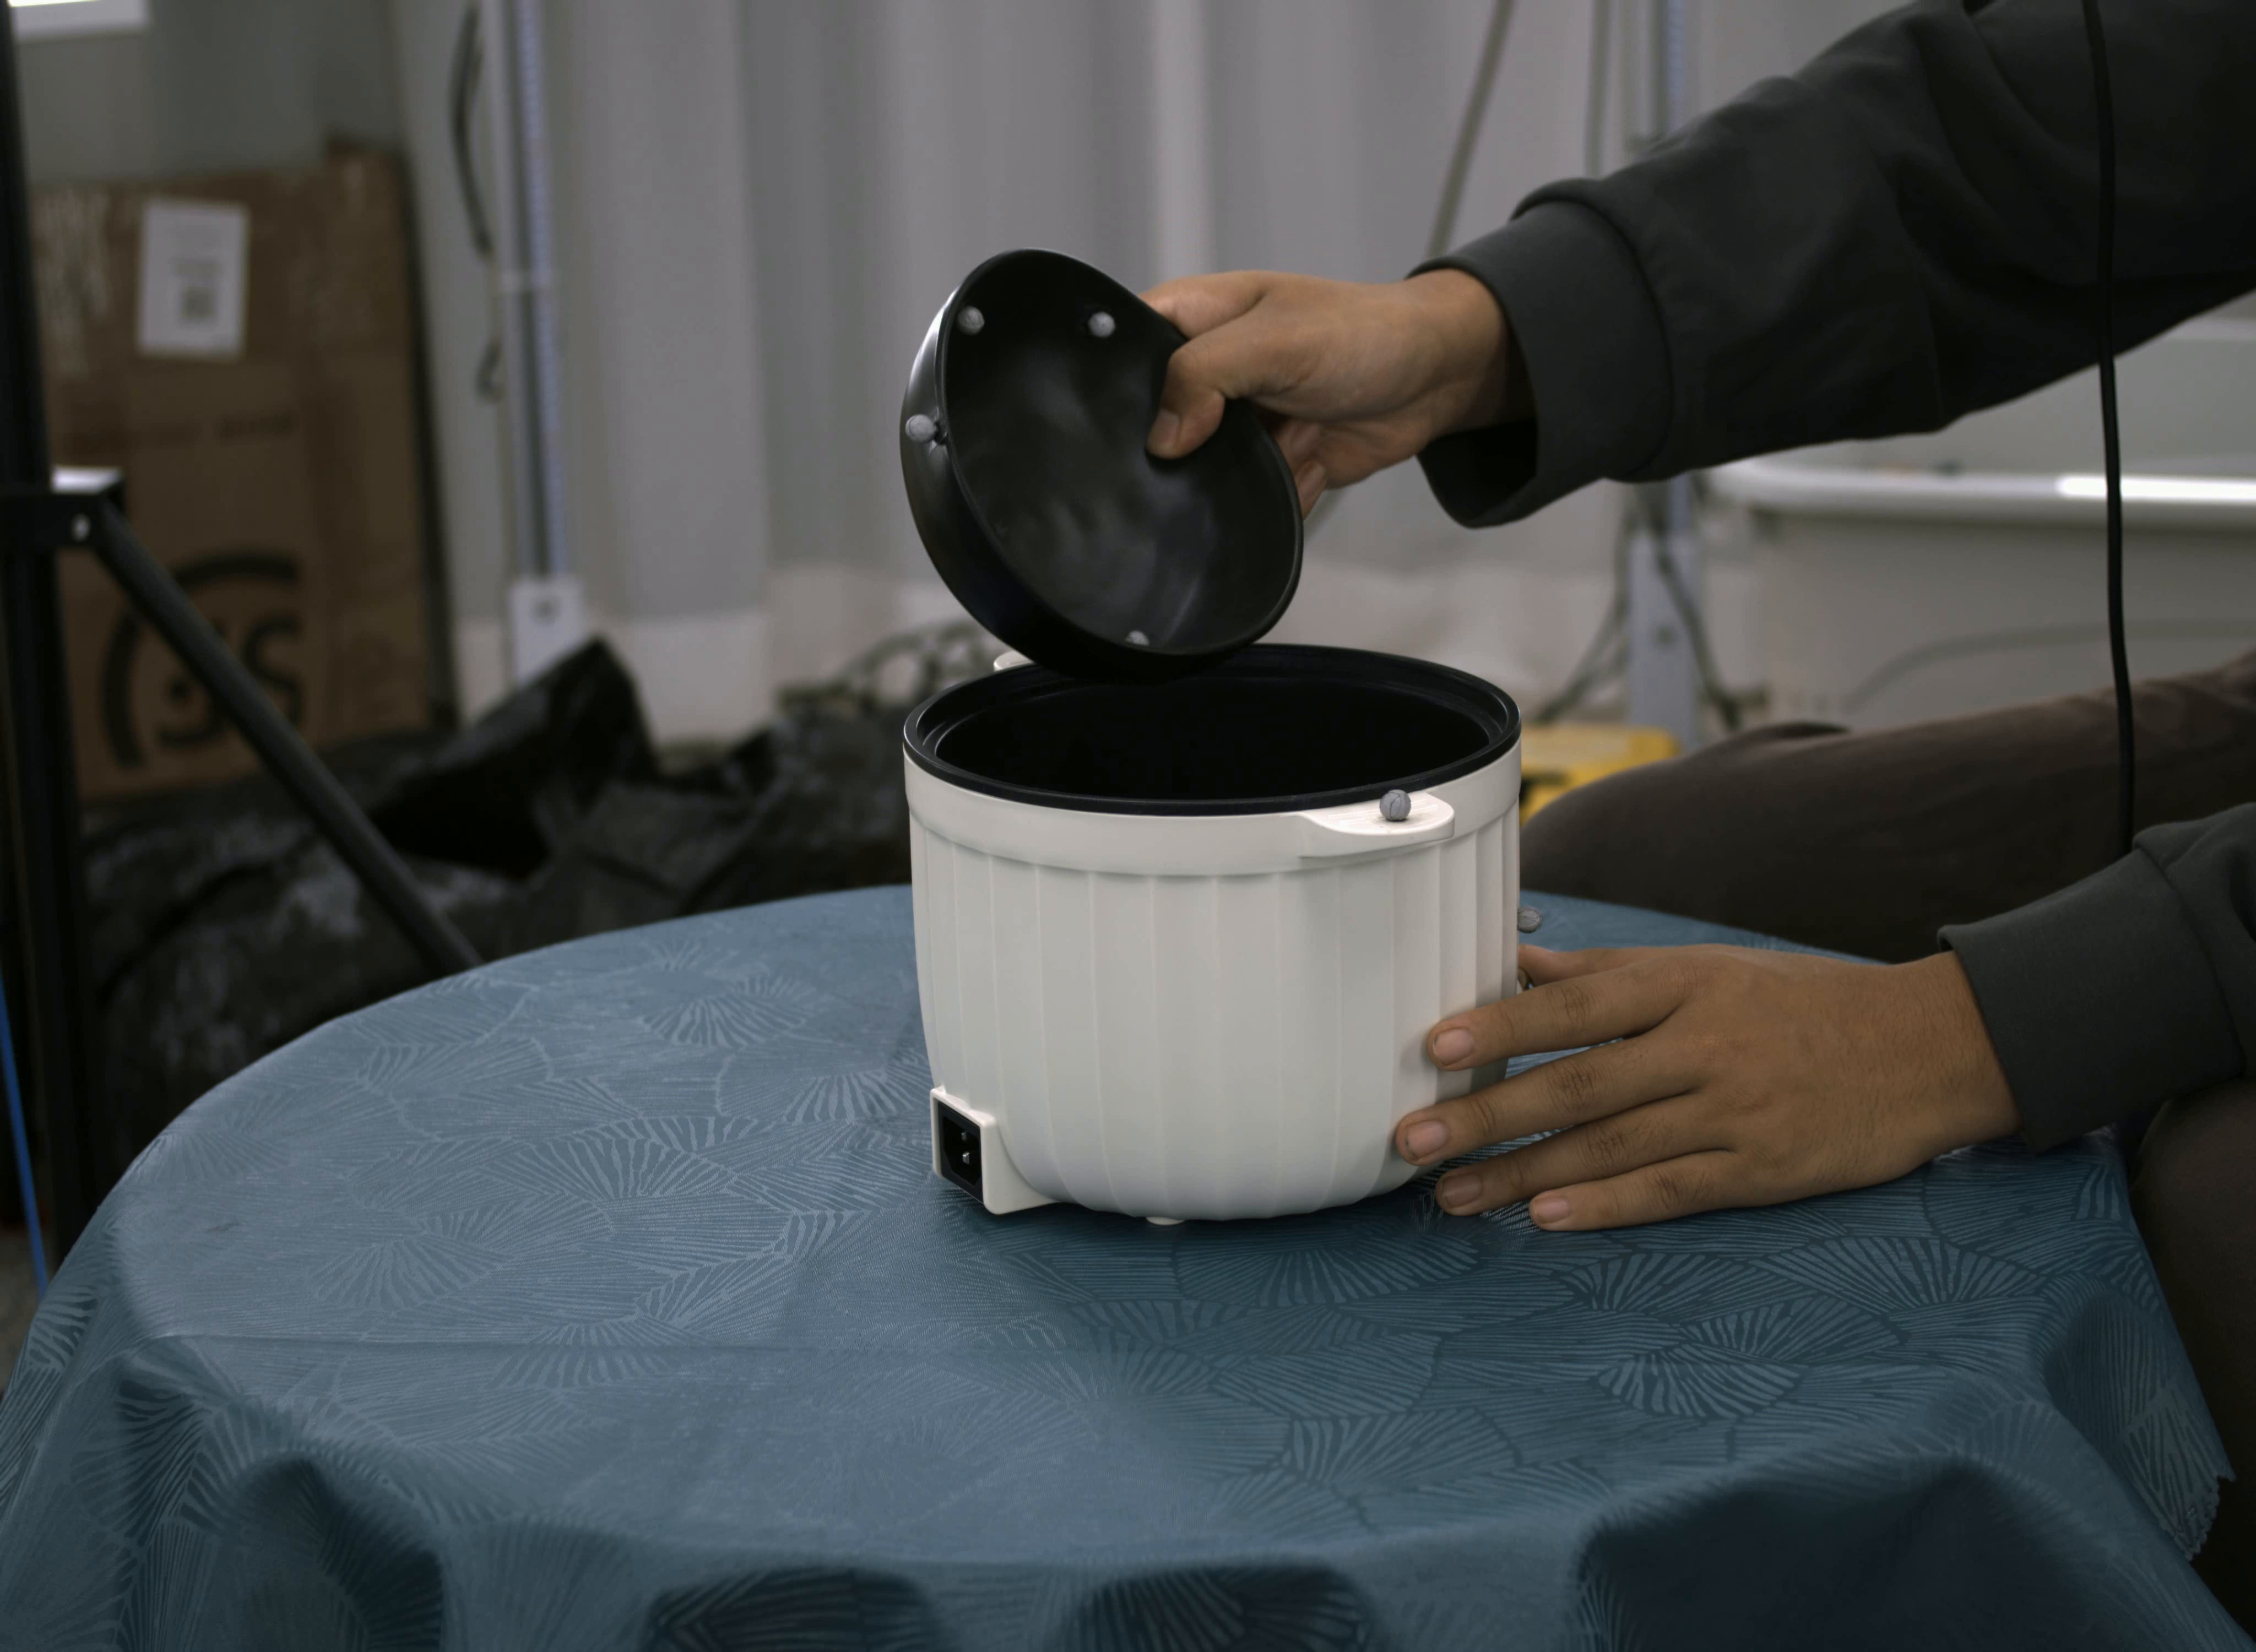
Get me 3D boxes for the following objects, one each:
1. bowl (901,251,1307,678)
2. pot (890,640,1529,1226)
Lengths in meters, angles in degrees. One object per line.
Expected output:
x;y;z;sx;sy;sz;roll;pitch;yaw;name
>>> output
-0.018;-0.100;1.602;0.067;0.136;0.170;-42;13;34;bowl
0.030;0.031;1.570;0.187;0.142;0.245;-13;20;-25;pot
